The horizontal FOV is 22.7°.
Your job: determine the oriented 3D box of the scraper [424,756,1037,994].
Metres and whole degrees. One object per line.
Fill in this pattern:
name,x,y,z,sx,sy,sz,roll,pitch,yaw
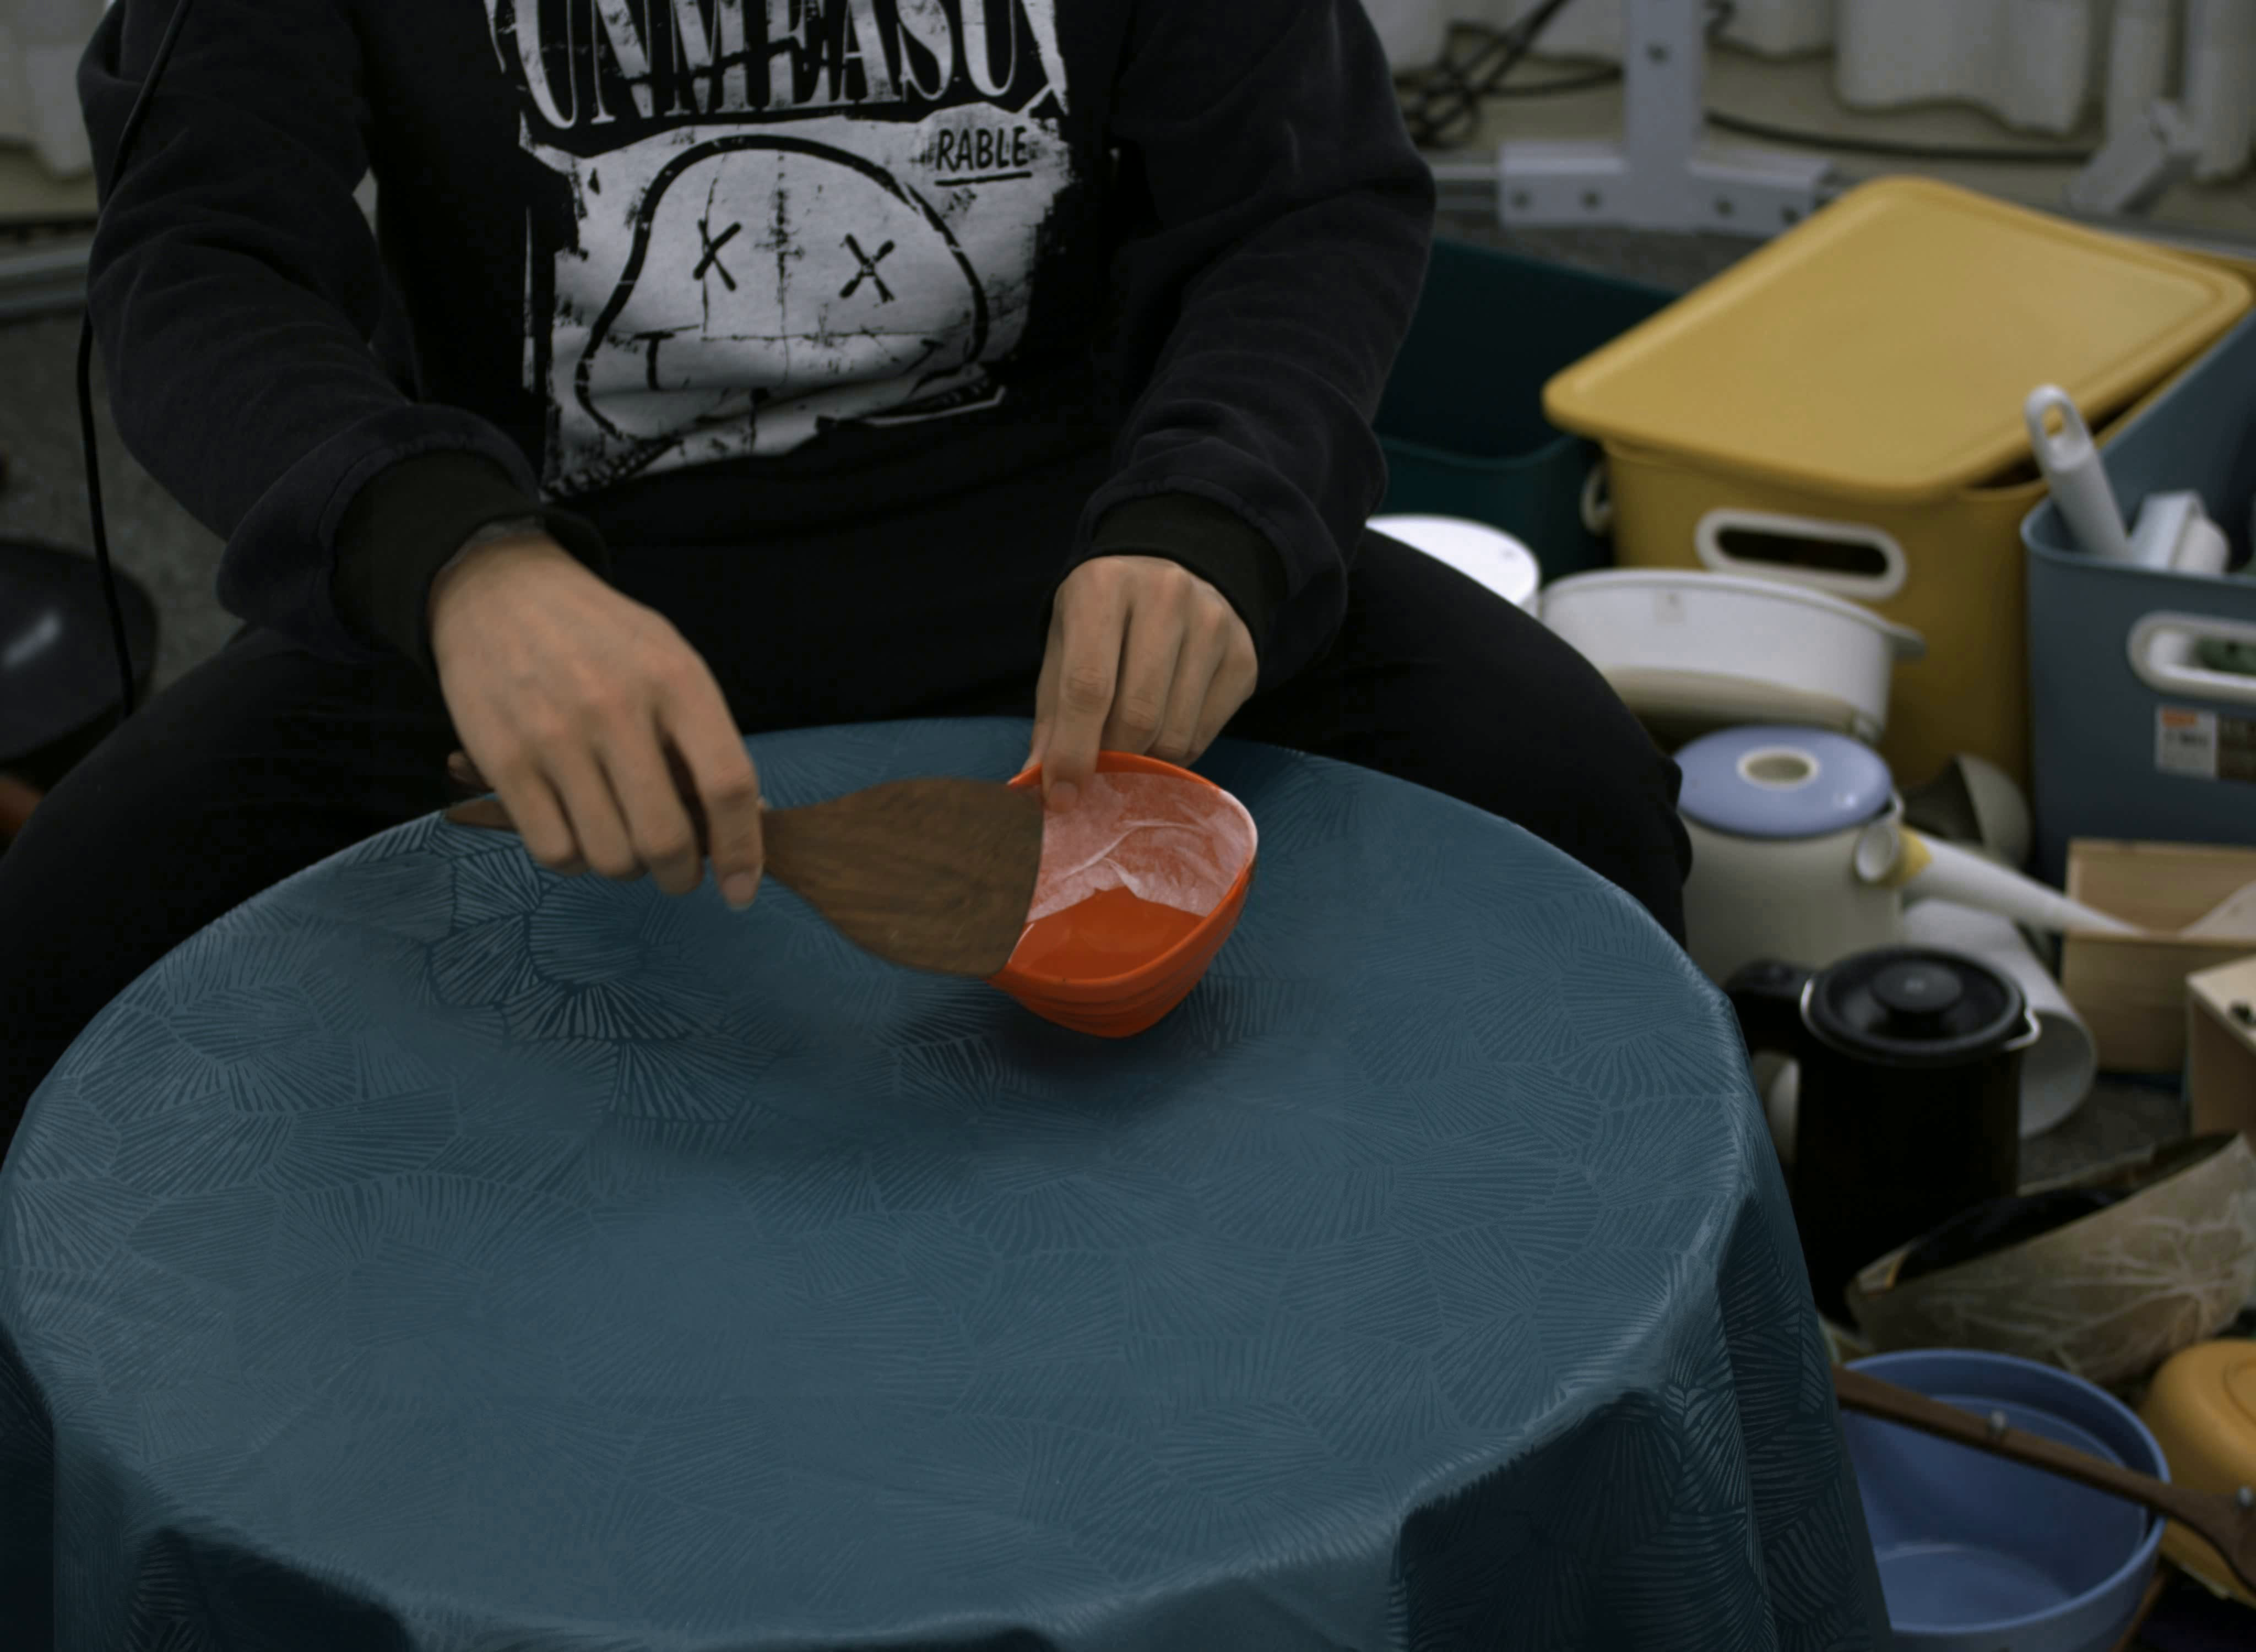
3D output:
scraper,-0.136,0.007,1.902,0.210,0.010,0.077,11,61,7

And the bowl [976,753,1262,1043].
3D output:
bowl,-0.008,0.032,1.965,0.118,0.050,0.121,-7,42,7
